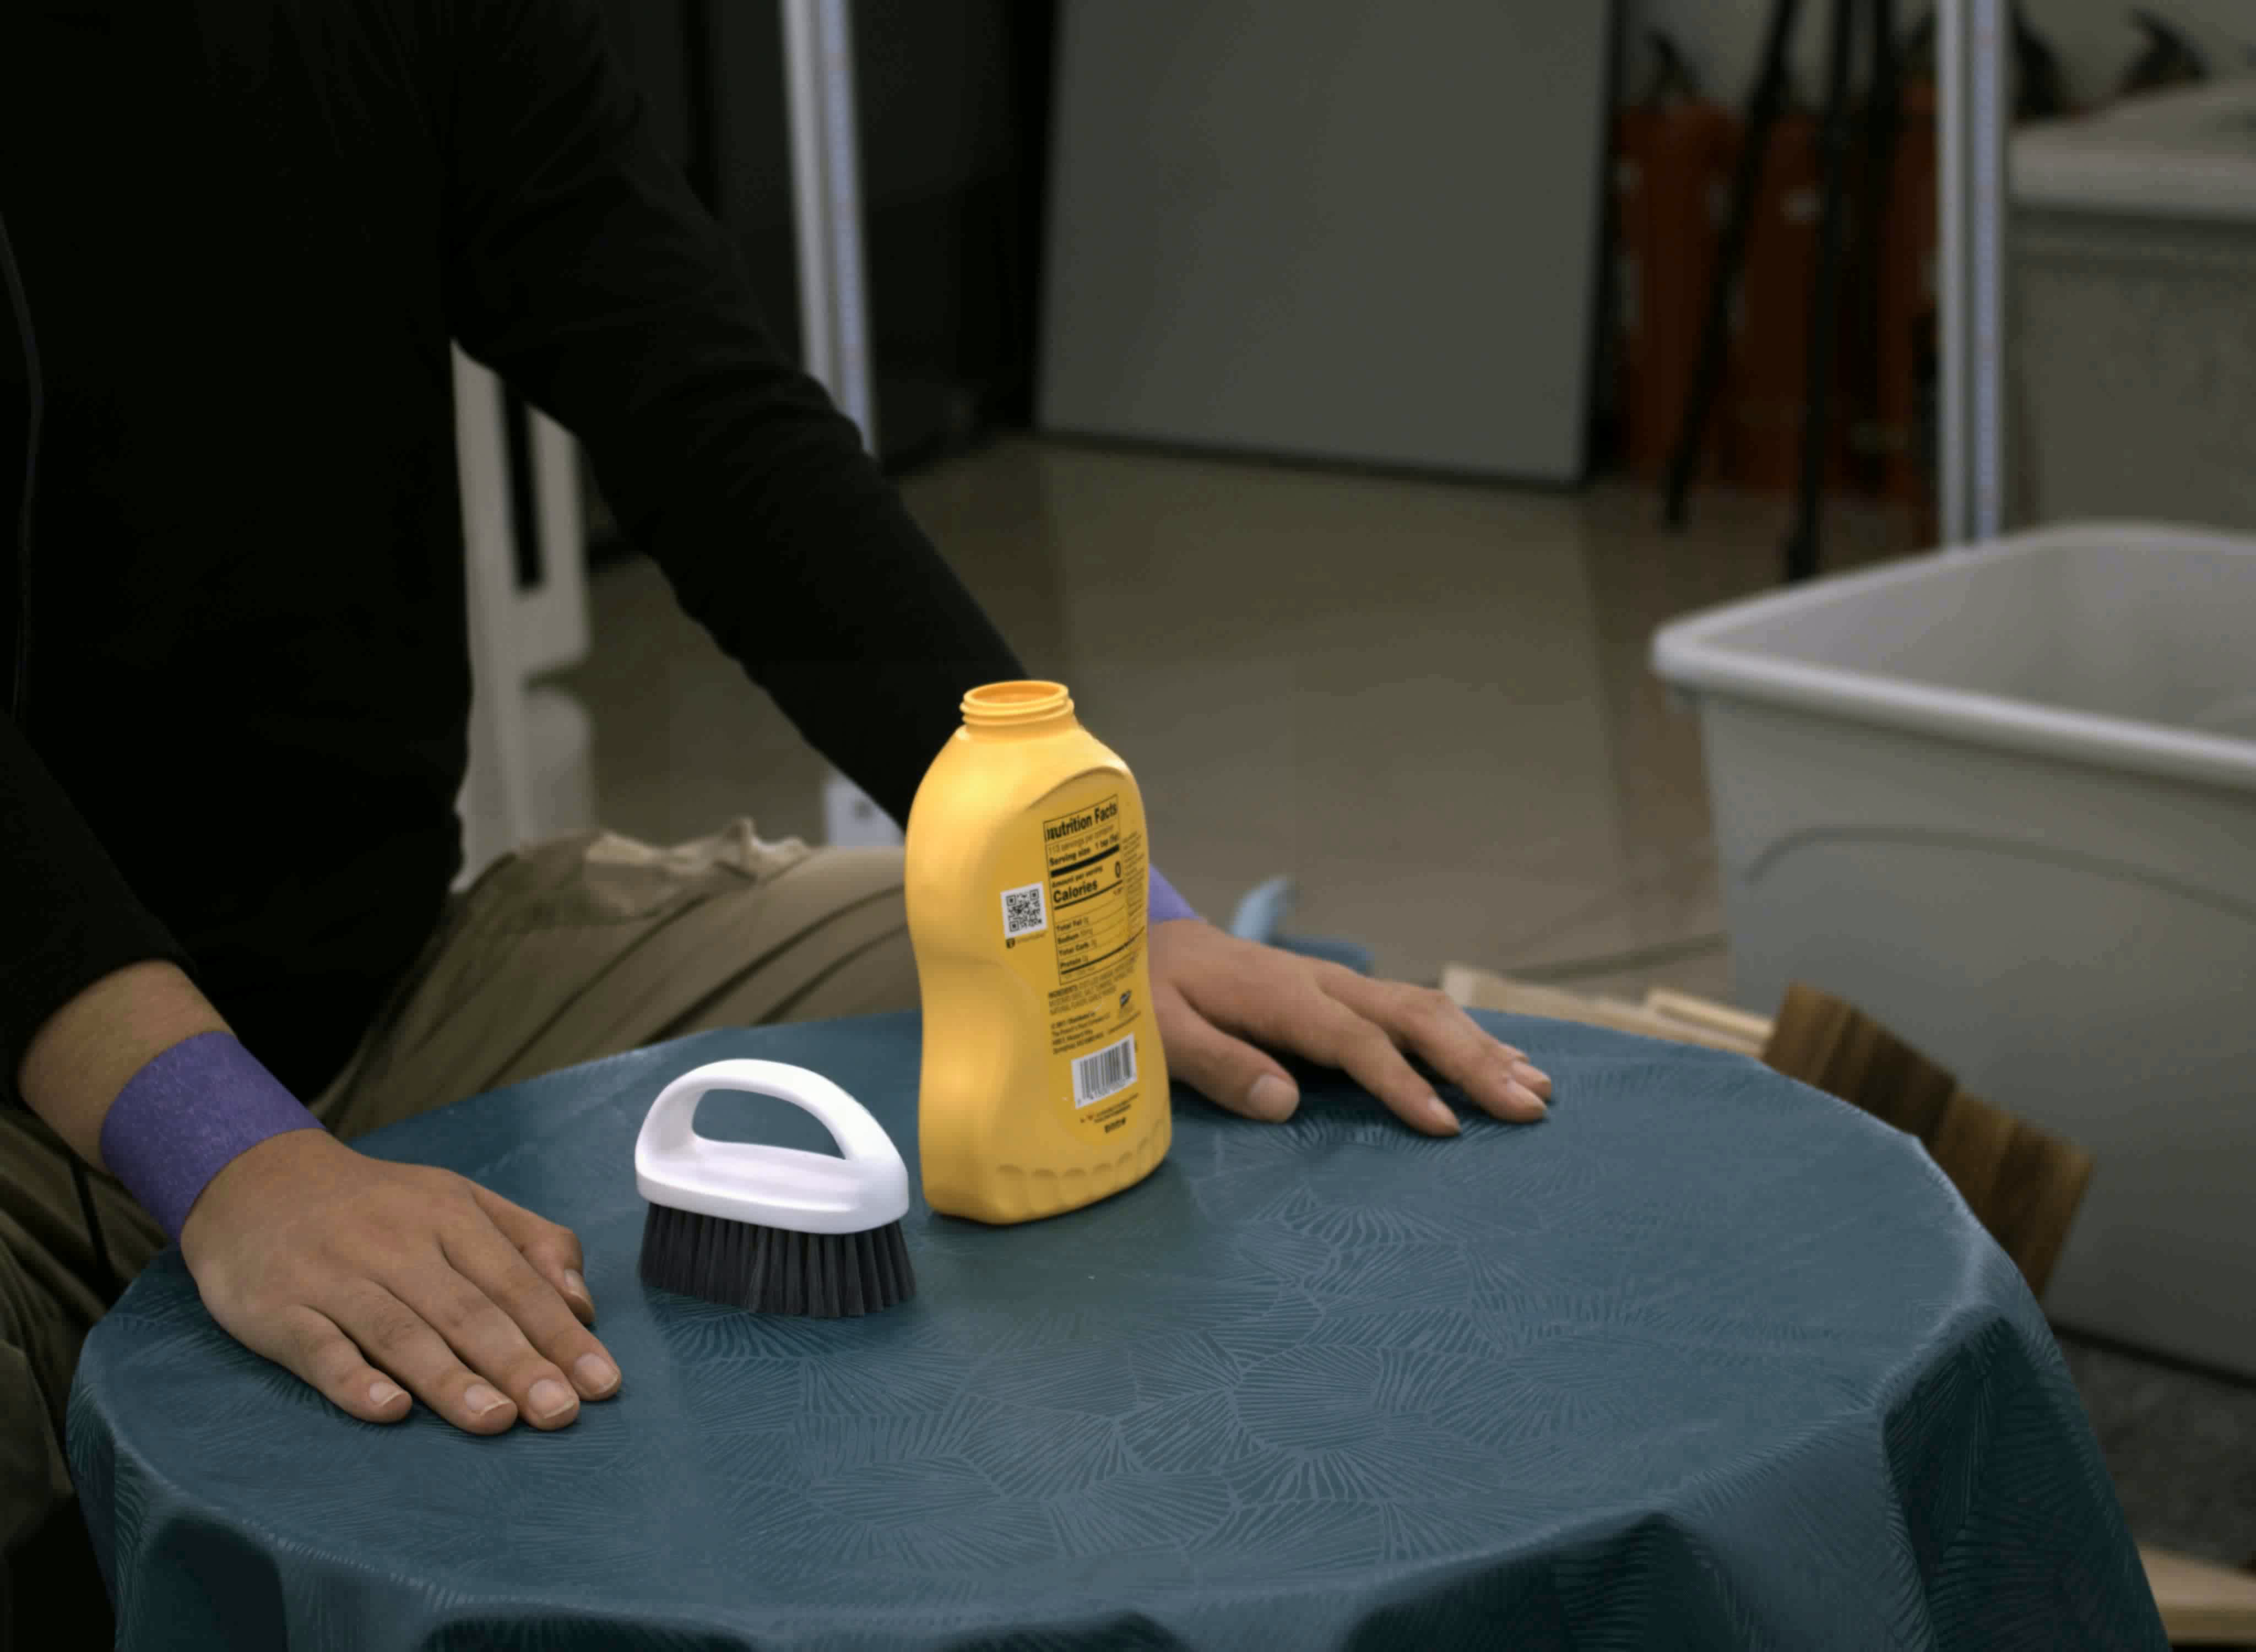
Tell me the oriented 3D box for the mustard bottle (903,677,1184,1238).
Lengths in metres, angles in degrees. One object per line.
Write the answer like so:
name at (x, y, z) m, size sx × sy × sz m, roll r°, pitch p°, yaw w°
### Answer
mustard bottle at (-0.030, 0.040, 1.754) m, size 0.060 × 0.174 × 0.096 m, roll 1°, pitch 14°, yaw 38°

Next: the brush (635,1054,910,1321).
brush at (-0.113, 0.109, 1.693) m, size 0.100 × 0.073 × 0.049 m, roll 9°, pitch 16°, yaw 39°
